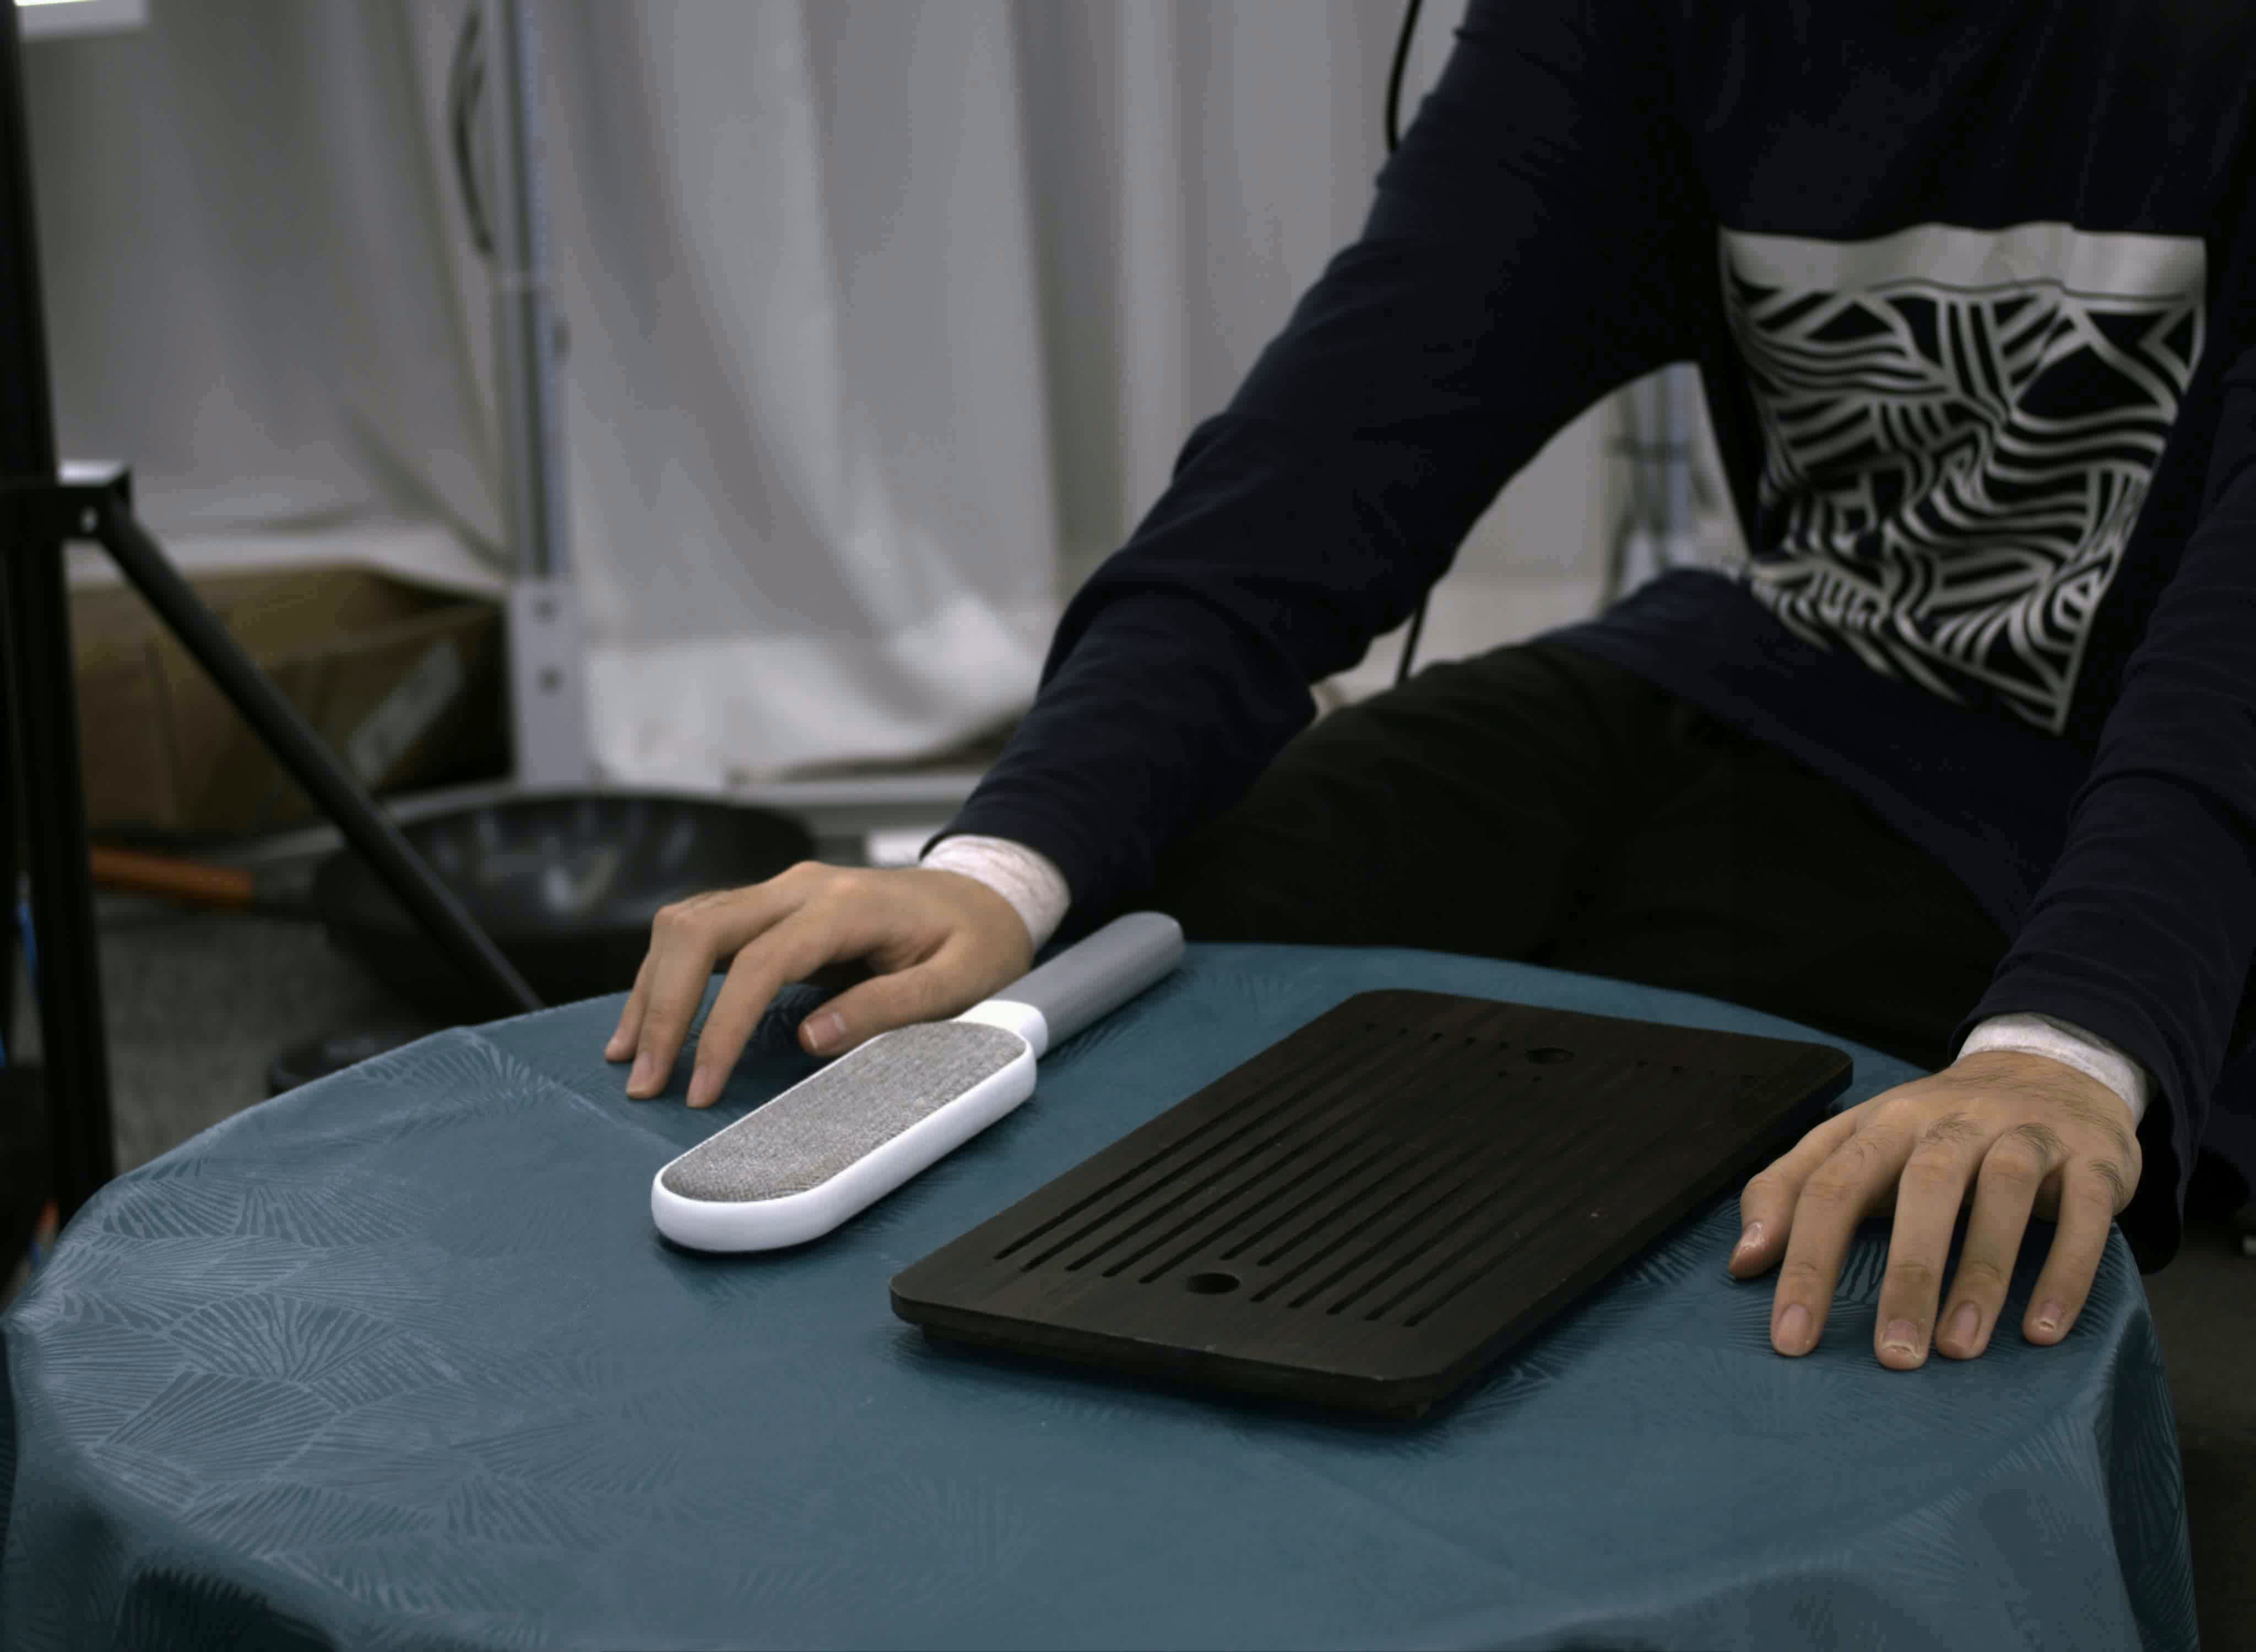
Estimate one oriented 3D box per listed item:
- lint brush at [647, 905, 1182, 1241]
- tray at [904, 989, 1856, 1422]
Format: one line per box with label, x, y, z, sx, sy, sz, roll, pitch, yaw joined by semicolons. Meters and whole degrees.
lint brush;-0.055;0.073;1.646;0.061;0.021;0.304;0;15;27
tray;0.080;0.106;1.527;0.173;0.018;0.300;6;18;29
